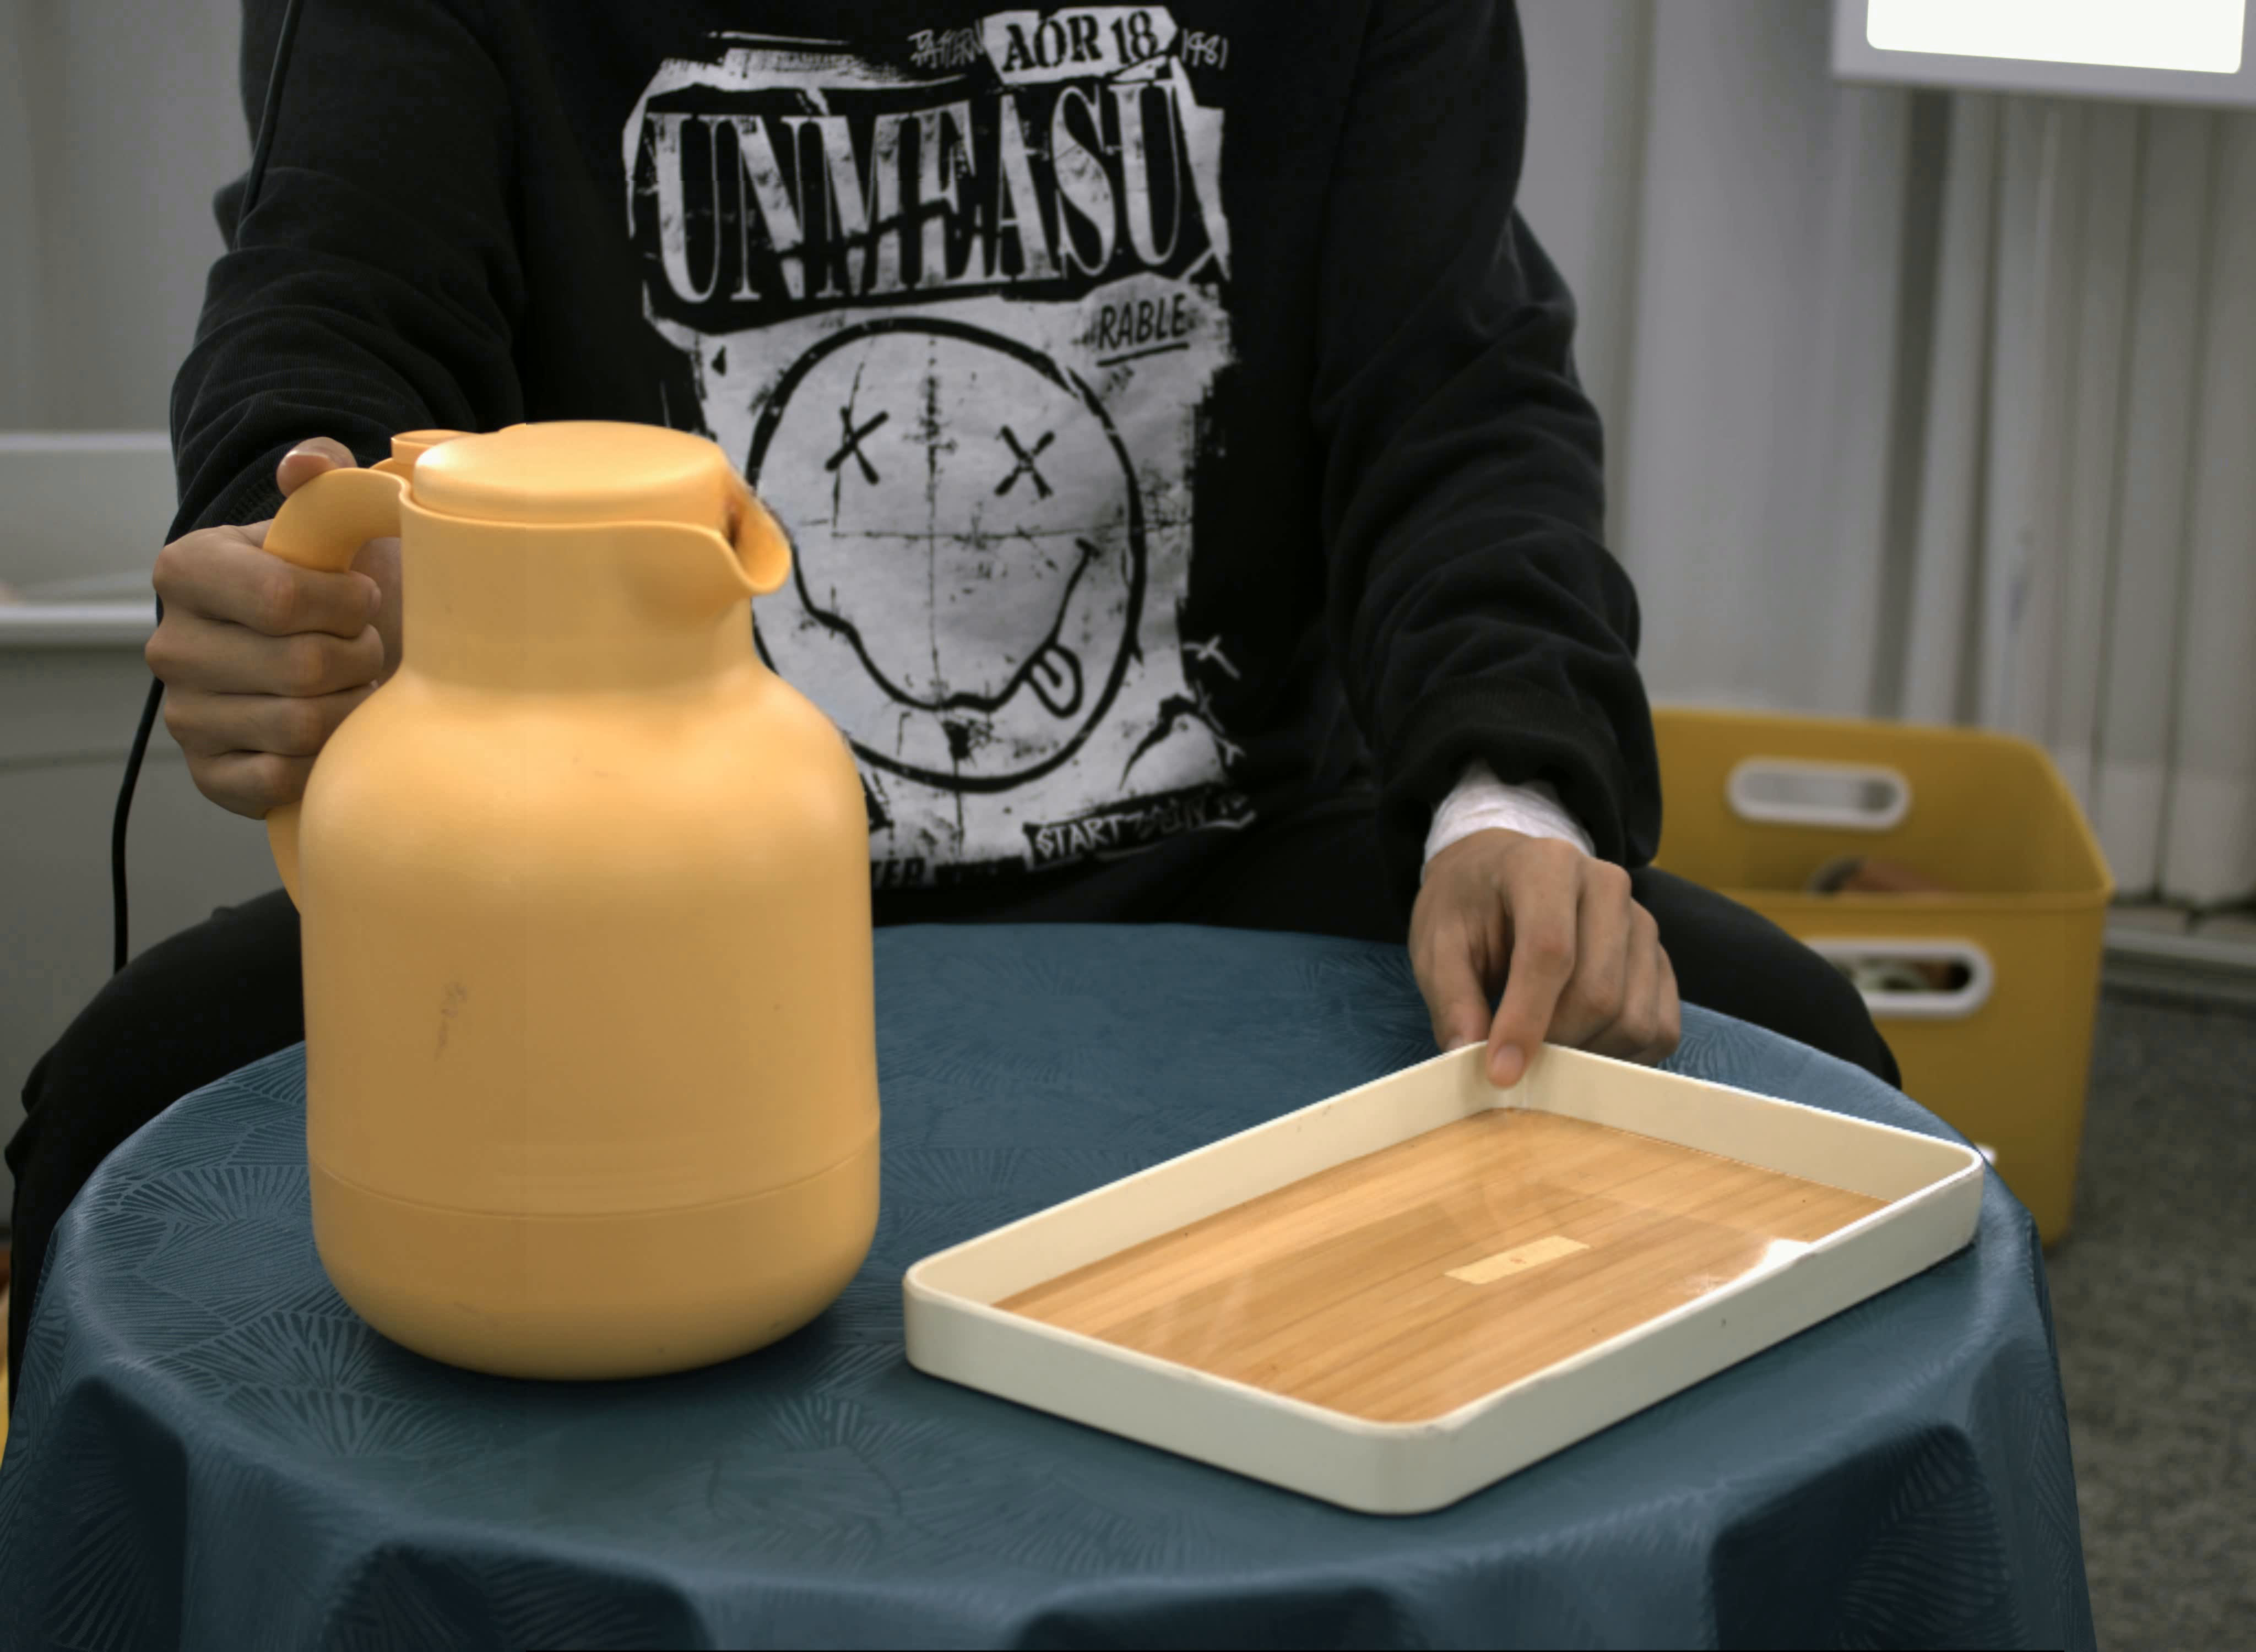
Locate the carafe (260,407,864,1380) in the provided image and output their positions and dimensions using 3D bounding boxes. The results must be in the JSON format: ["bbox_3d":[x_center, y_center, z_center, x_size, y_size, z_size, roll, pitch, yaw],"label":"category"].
[{"bbox_3d":[-0.168,0.011,1.489,0.199,0.262,0.164,15,20,39],"label":"carafe"}]

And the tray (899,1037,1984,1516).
[{"bbox_3d":[0.096,0.125,1.531,0.189,0.027,0.301,13,20,38],"label":"tray"}]
